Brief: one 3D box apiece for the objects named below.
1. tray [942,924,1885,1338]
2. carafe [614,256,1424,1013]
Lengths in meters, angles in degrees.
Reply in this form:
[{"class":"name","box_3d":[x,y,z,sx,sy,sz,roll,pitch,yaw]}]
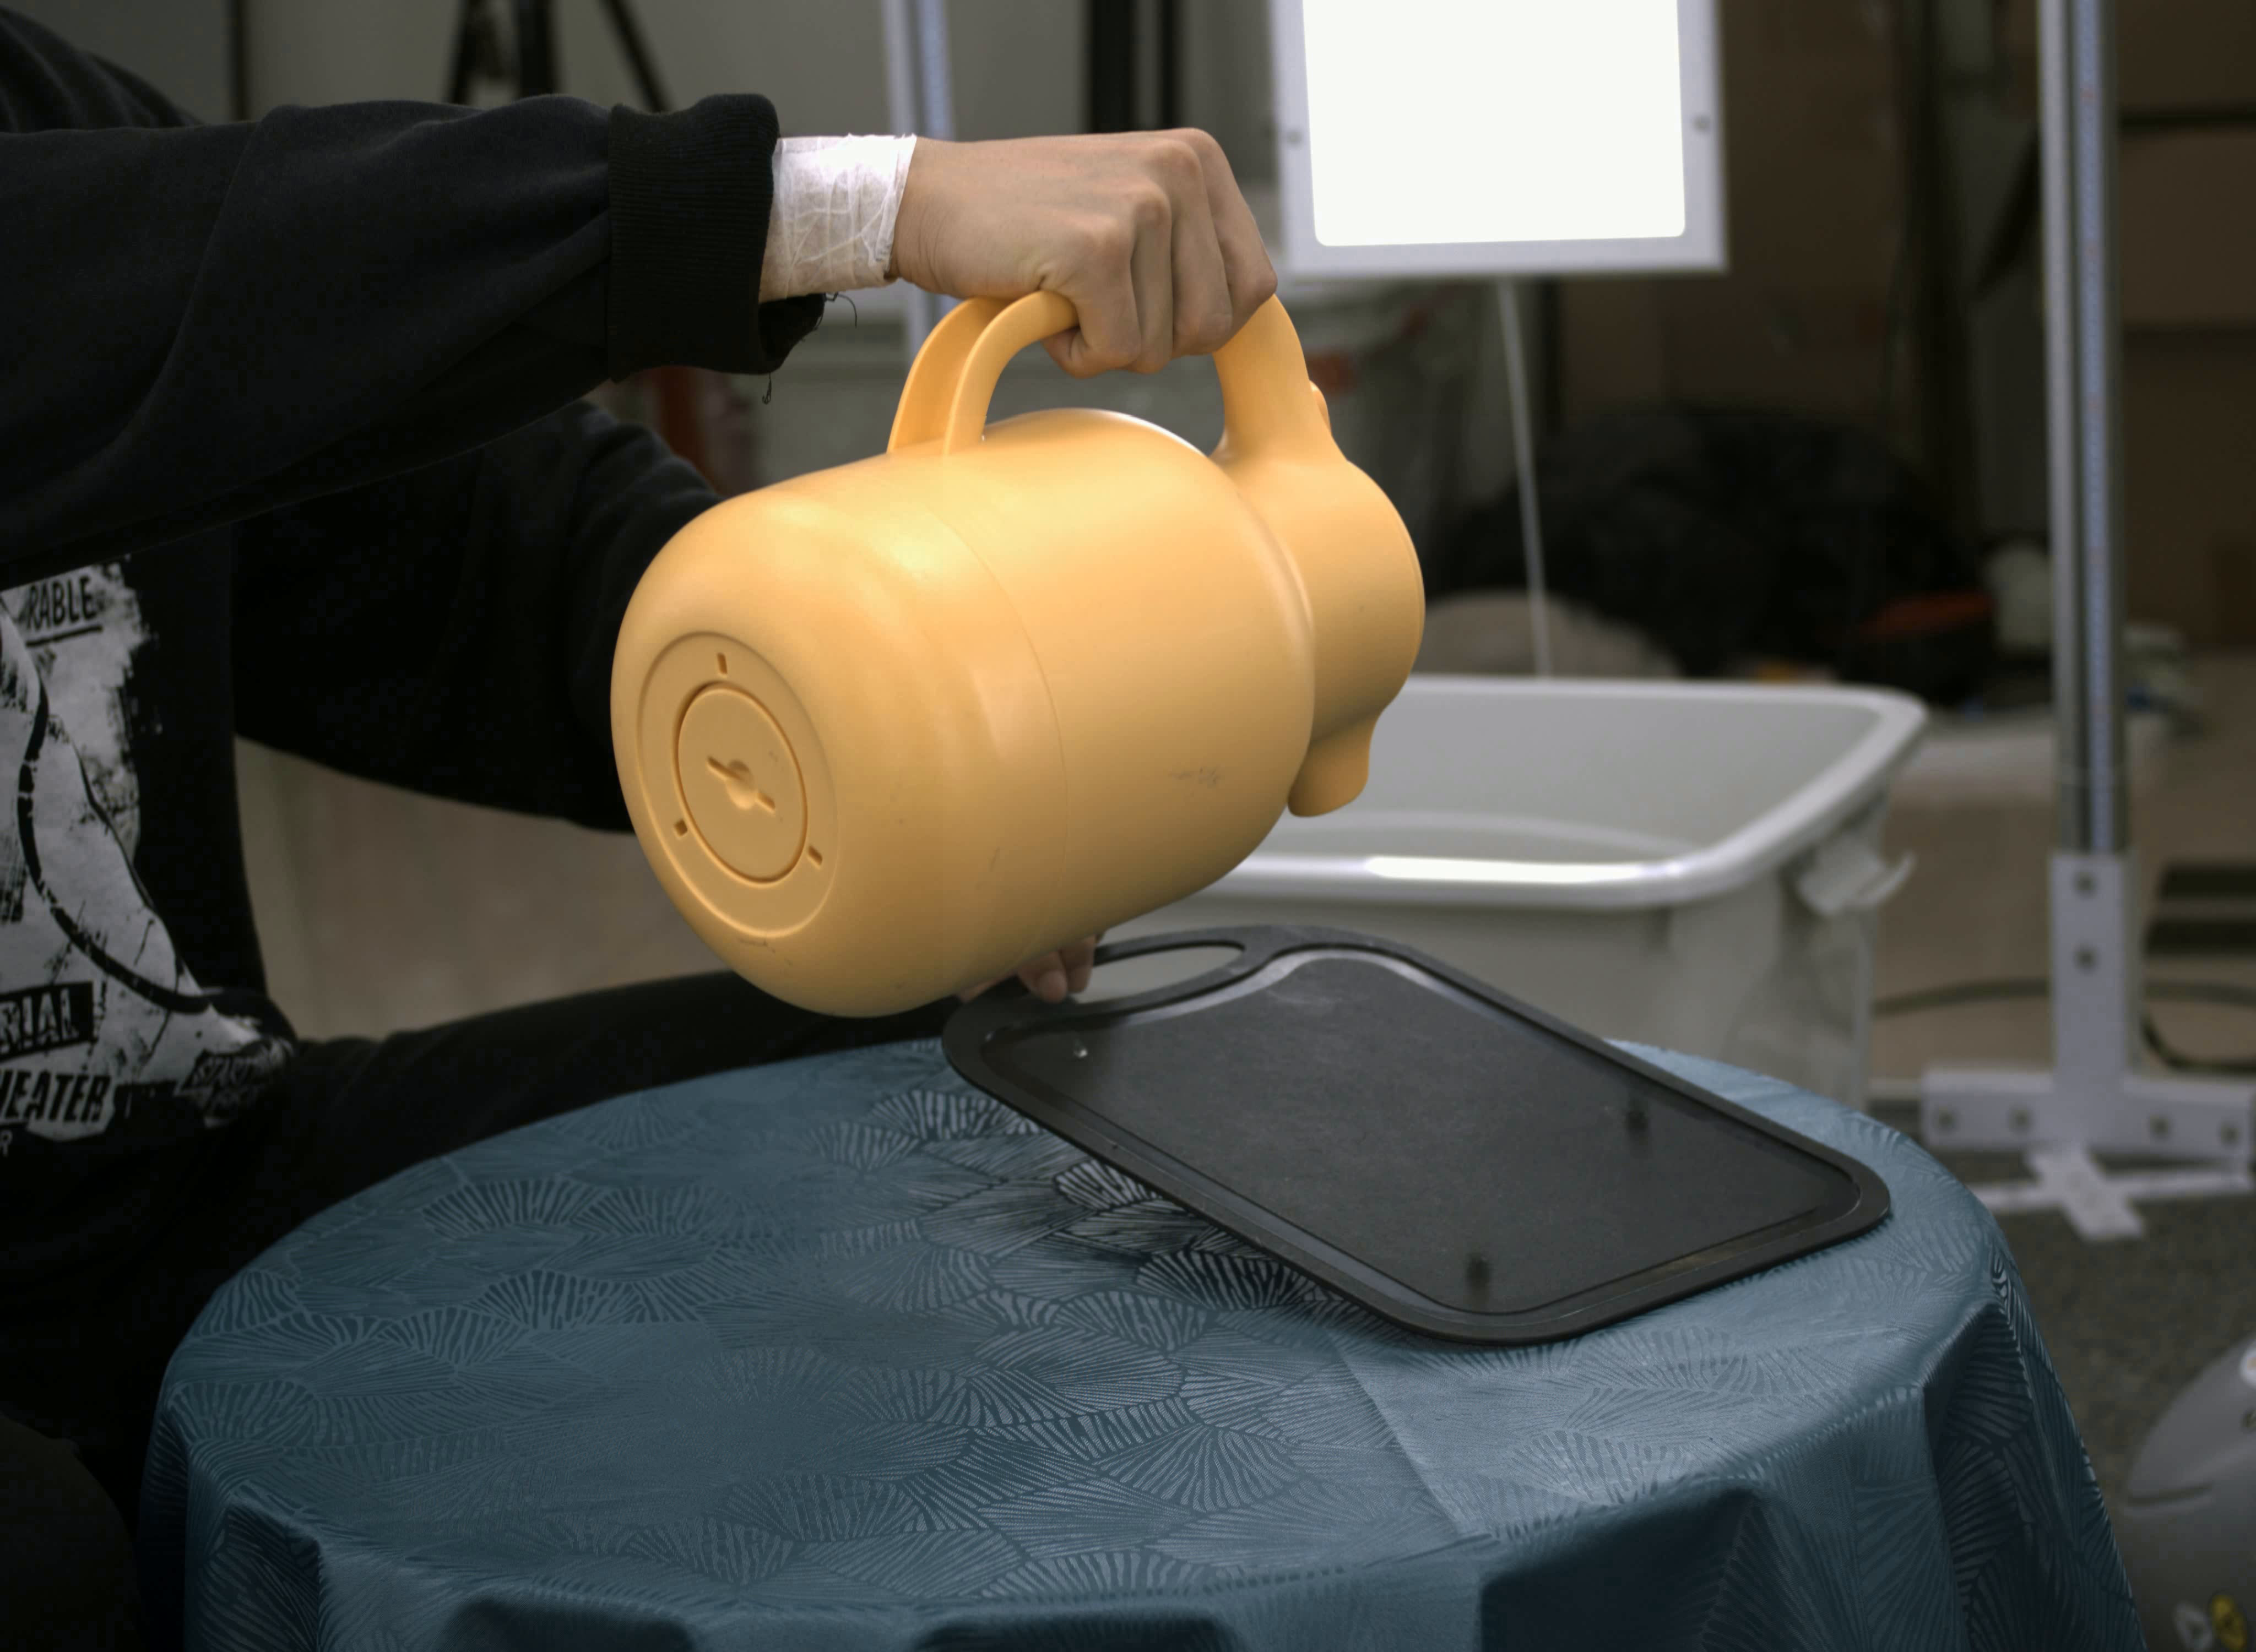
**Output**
[{"class":"tray","box_3d":[0.087,0.095,1.867,0.206,0.010,0.331,-14,26,-35]},{"class":"carafe","box_3d":[-0.027,-0.066,1.704,0.254,0.203,0.167,-19,14,-41]}]
